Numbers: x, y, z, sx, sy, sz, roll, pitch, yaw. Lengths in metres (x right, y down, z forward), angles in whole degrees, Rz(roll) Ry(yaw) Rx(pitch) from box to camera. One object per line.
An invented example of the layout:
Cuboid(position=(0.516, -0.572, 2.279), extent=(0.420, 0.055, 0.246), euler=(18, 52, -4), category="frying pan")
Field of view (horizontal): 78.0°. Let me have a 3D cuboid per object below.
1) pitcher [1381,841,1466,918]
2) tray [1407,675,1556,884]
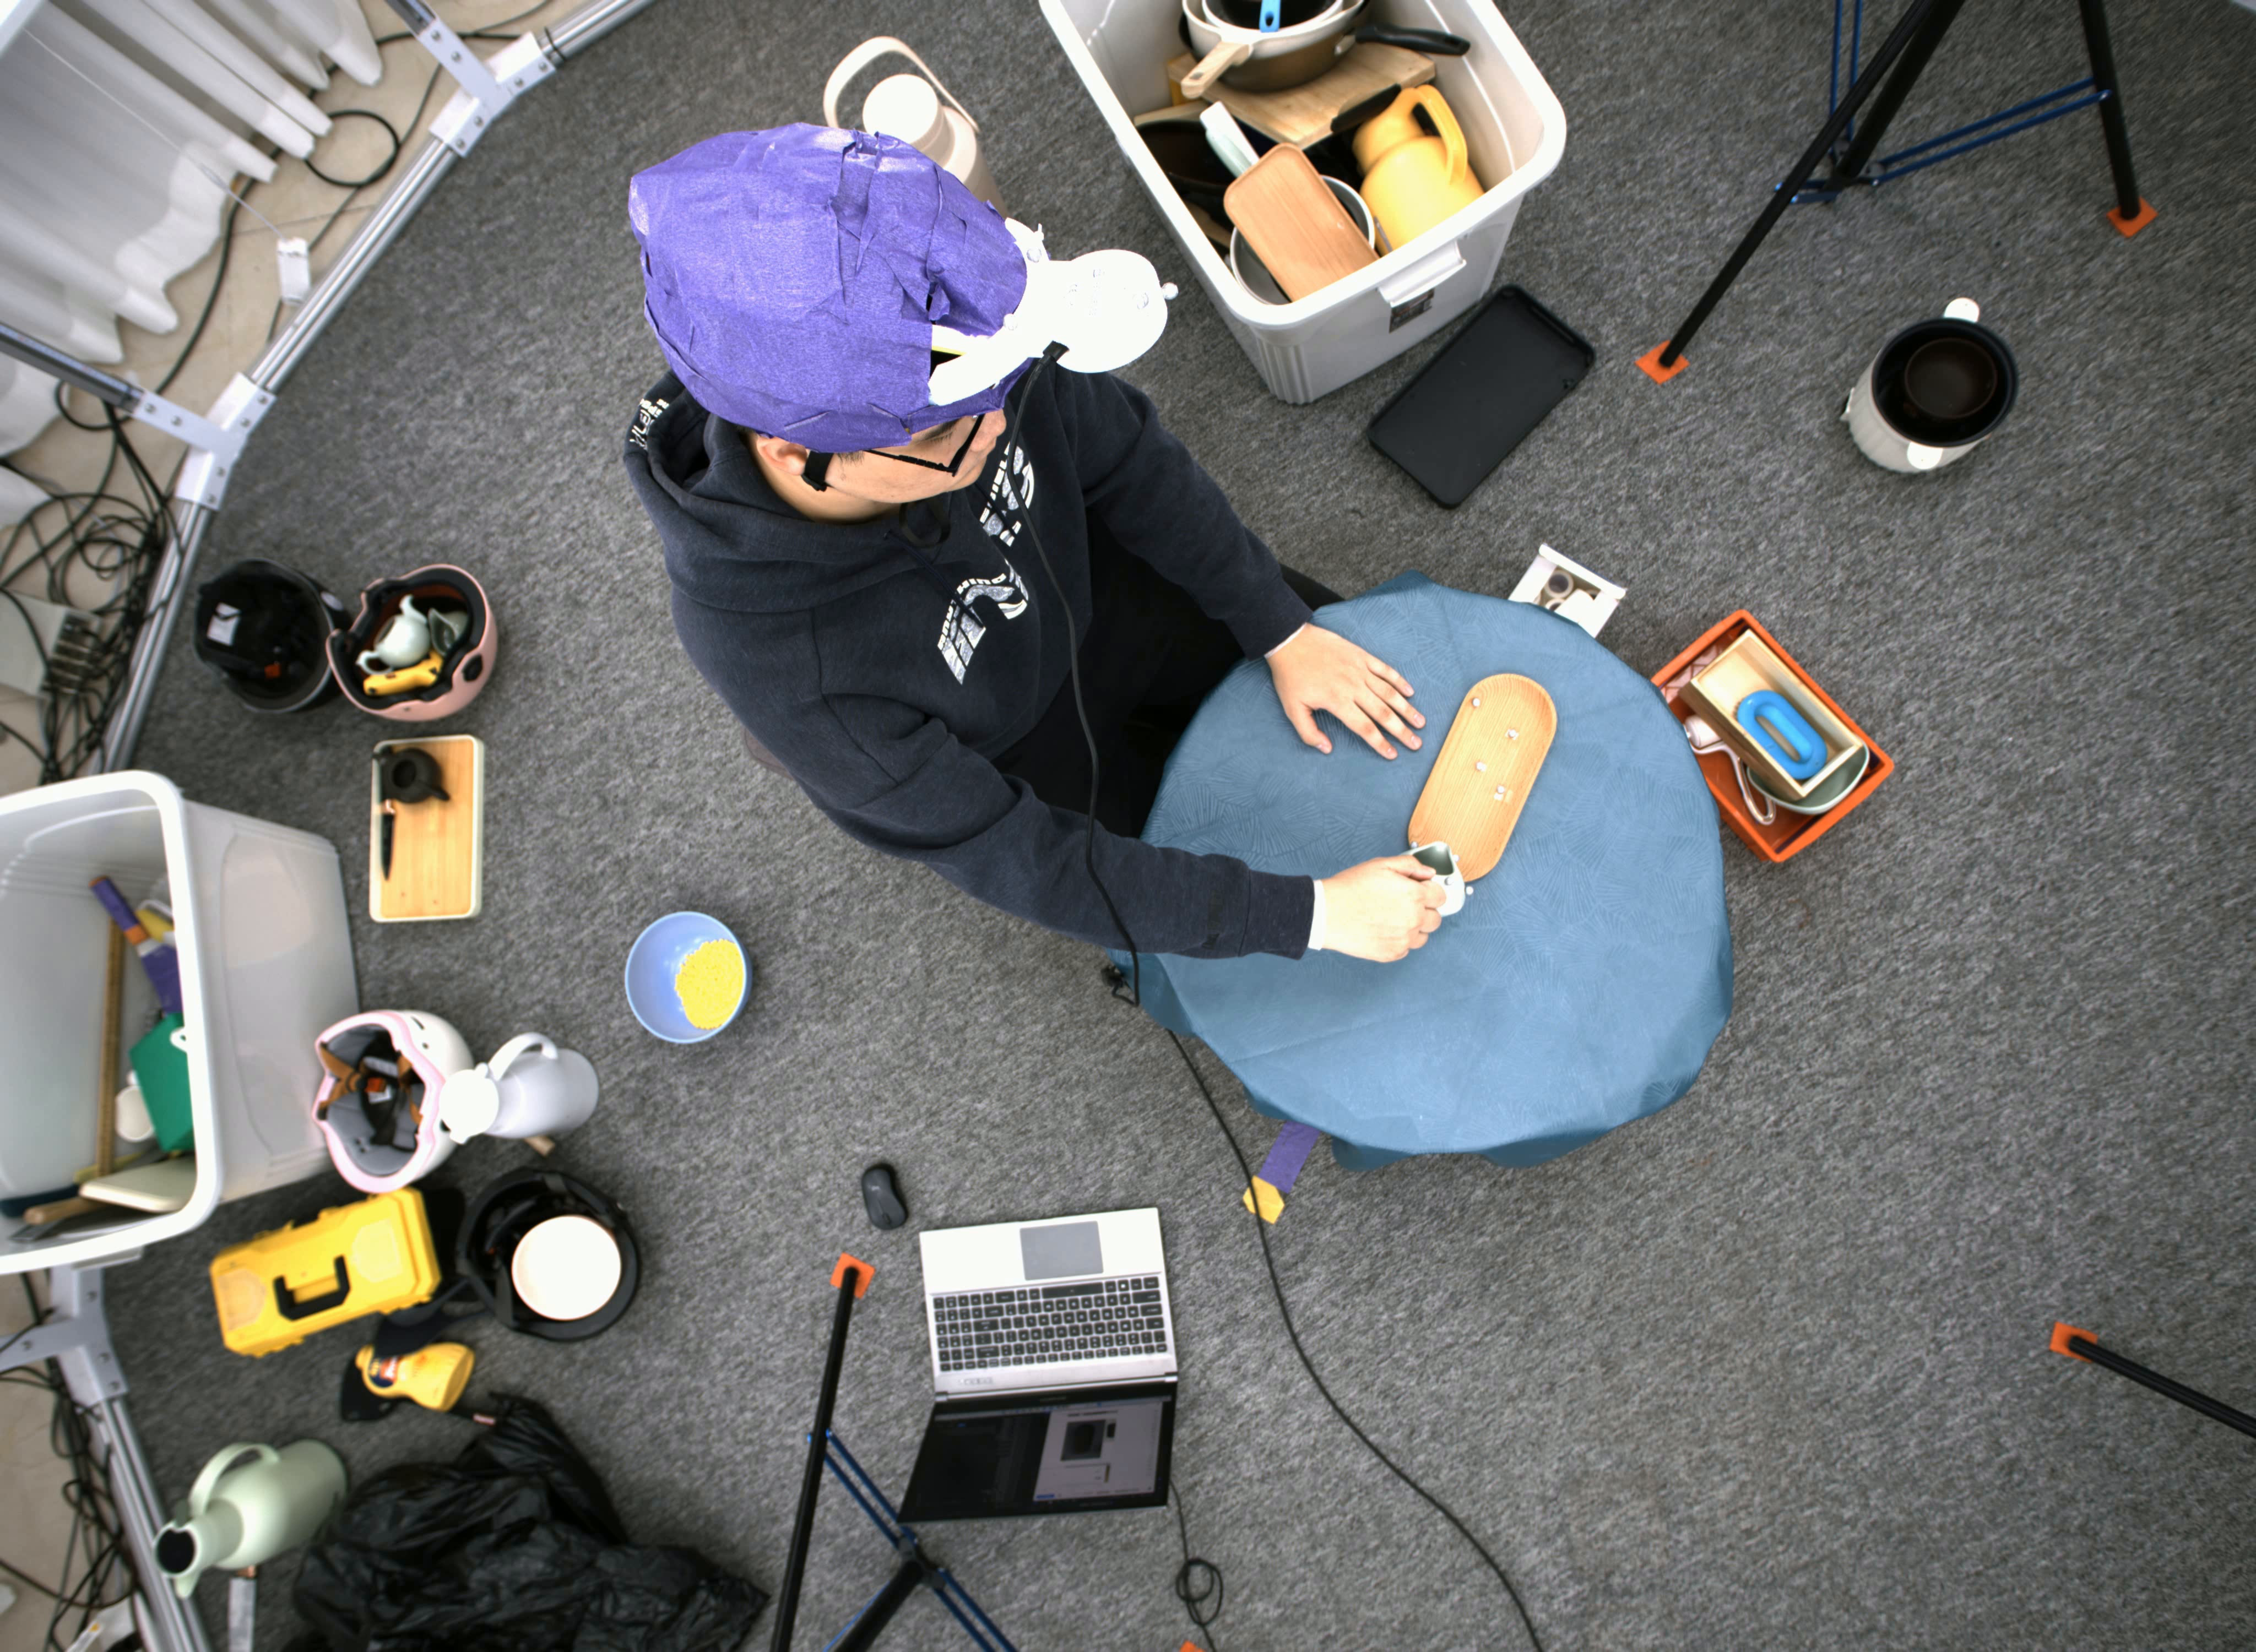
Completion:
Cuboid(position=(0.292, 0.058, 1.363), extent=(0.086, 0.105, 0.062), euler=(22, 123, 13), category="pitcher")
Cuboid(position=(0.370, -0.051, 1.441), extent=(0.101, 0.020, 0.231), euler=(24, 93, 13), category="tray")
